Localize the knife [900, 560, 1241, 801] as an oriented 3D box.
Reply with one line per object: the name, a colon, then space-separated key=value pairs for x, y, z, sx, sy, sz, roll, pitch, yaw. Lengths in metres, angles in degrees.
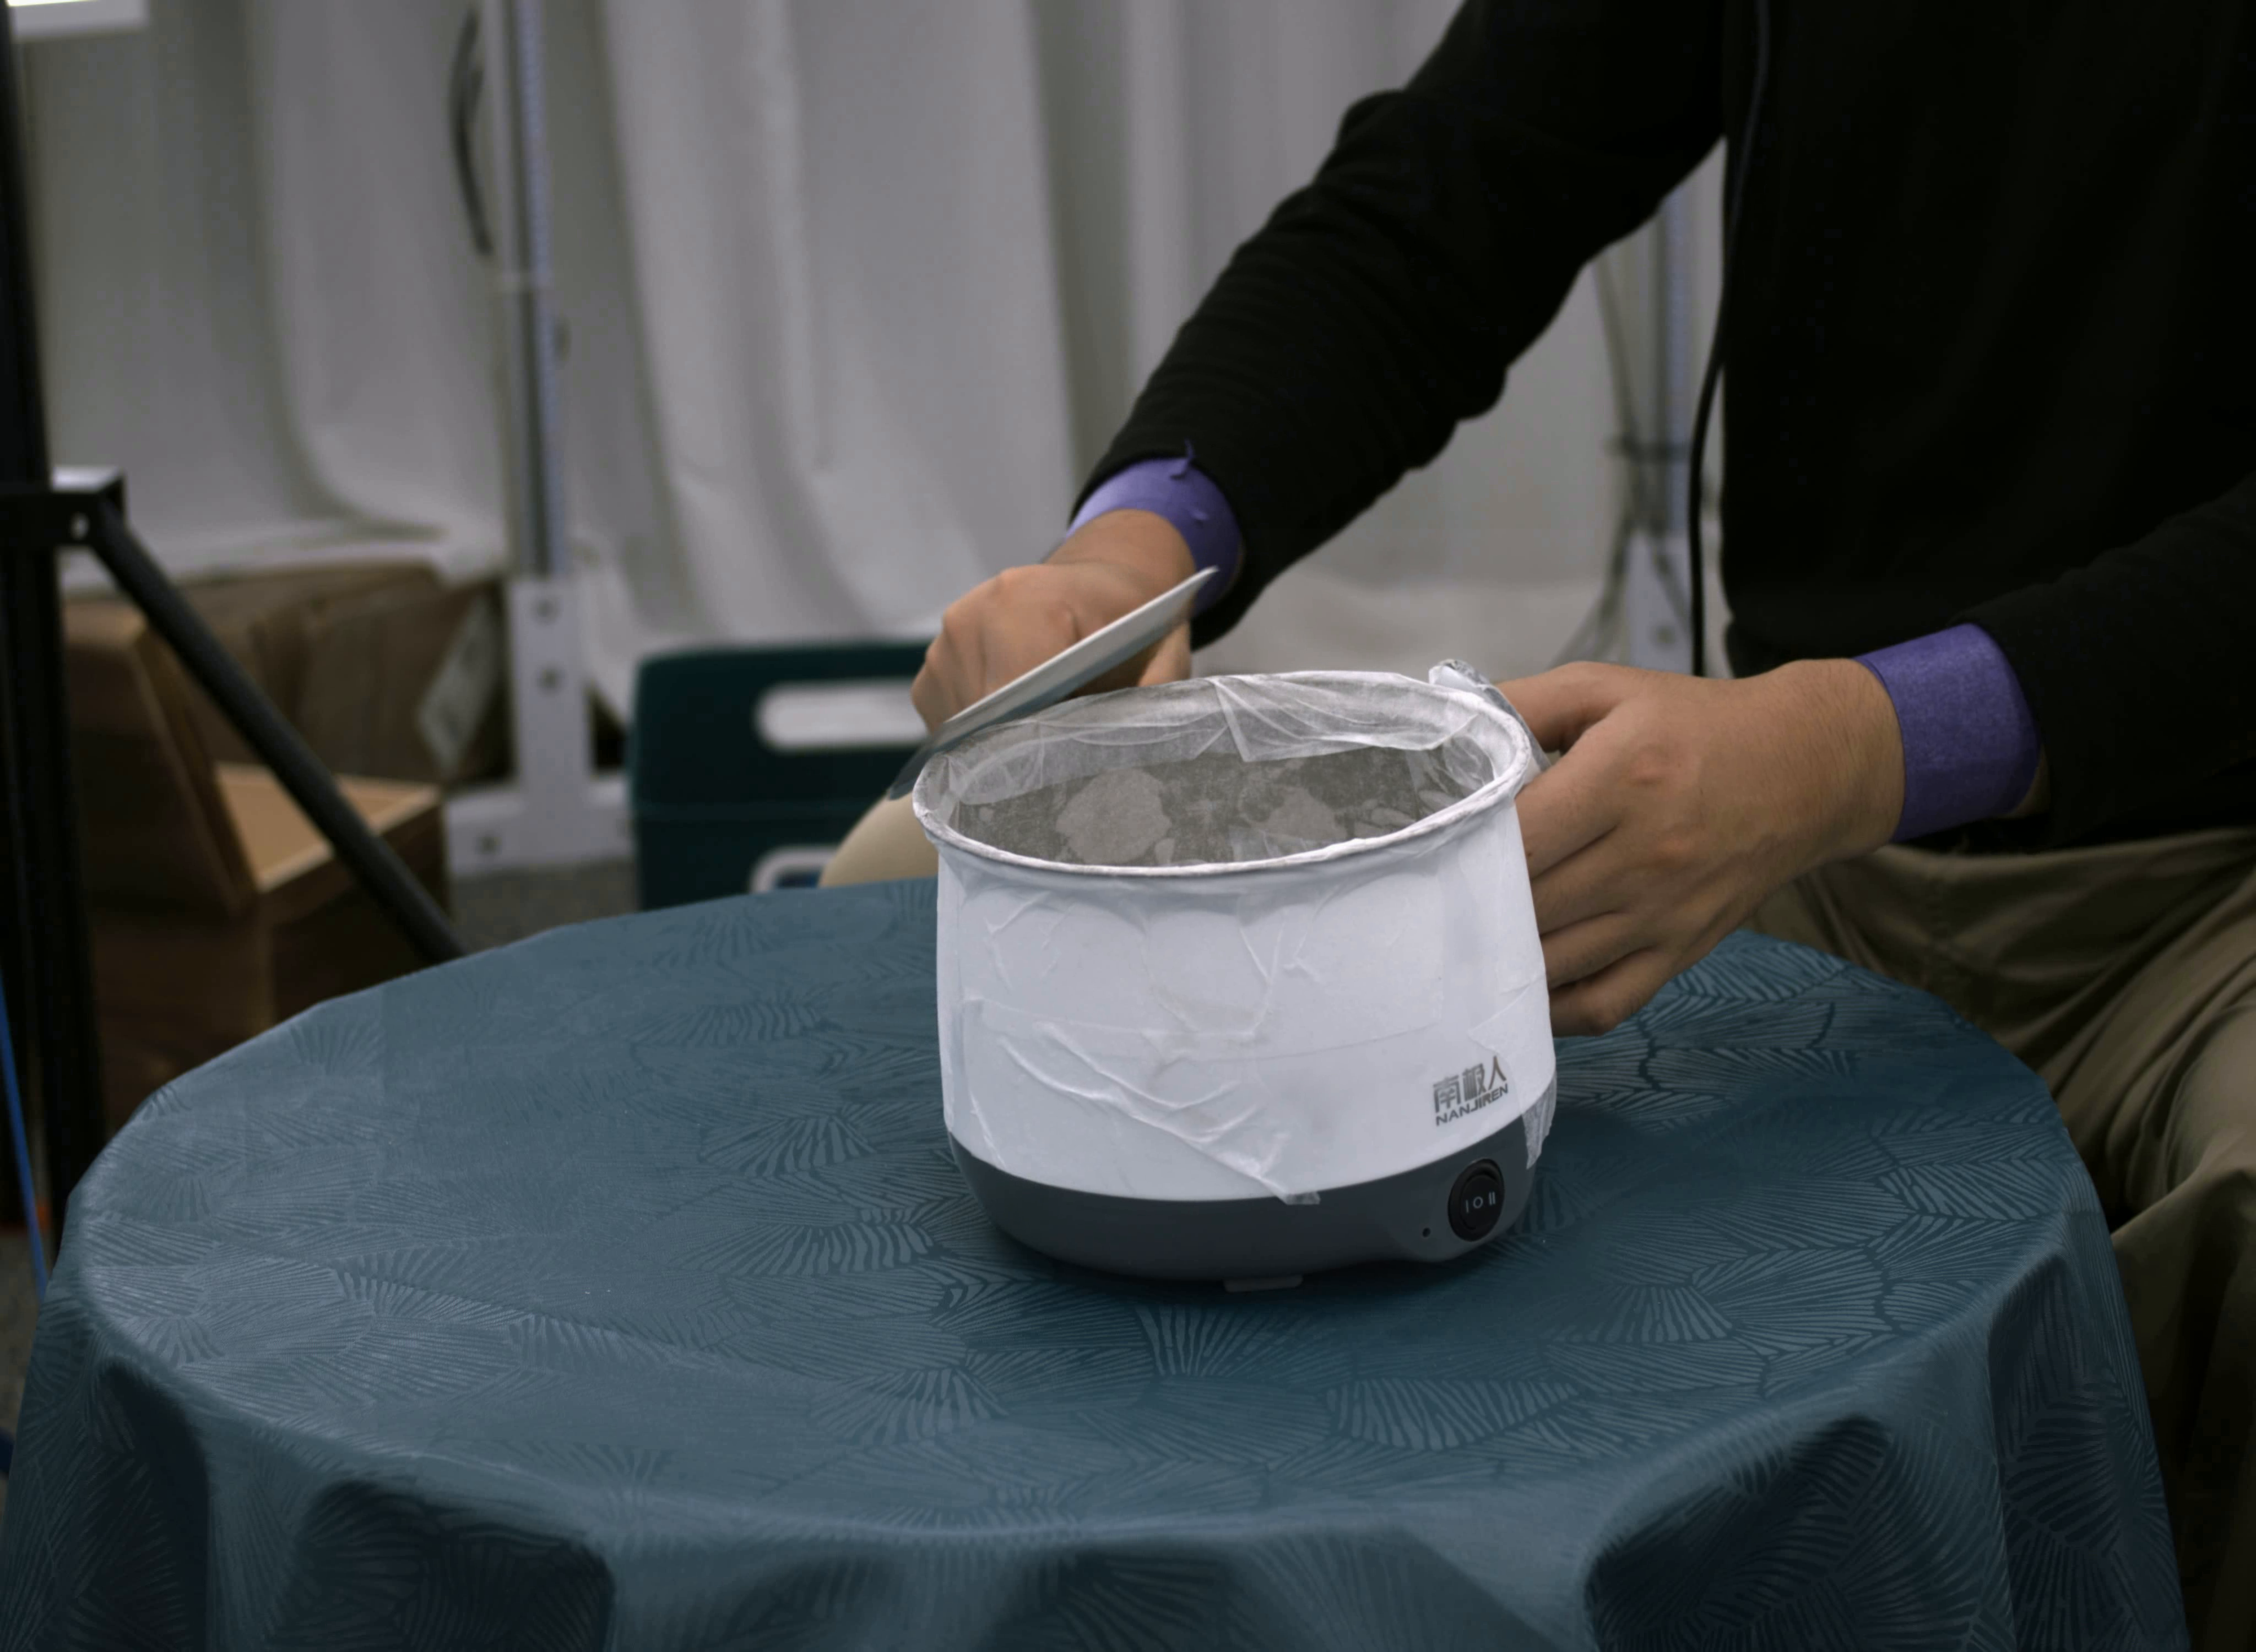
knife: x=-0.027 y=-0.036 z=1.622 sx=0.092 sy=0.021 sz=0.307 roll=-28 pitch=-3 yaw=-10

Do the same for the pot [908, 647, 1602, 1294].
pot: x=0.050 y=0.034 z=1.533 sx=0.183 sy=0.136 sz=0.229 roll=13 pitch=27 yaw=43
